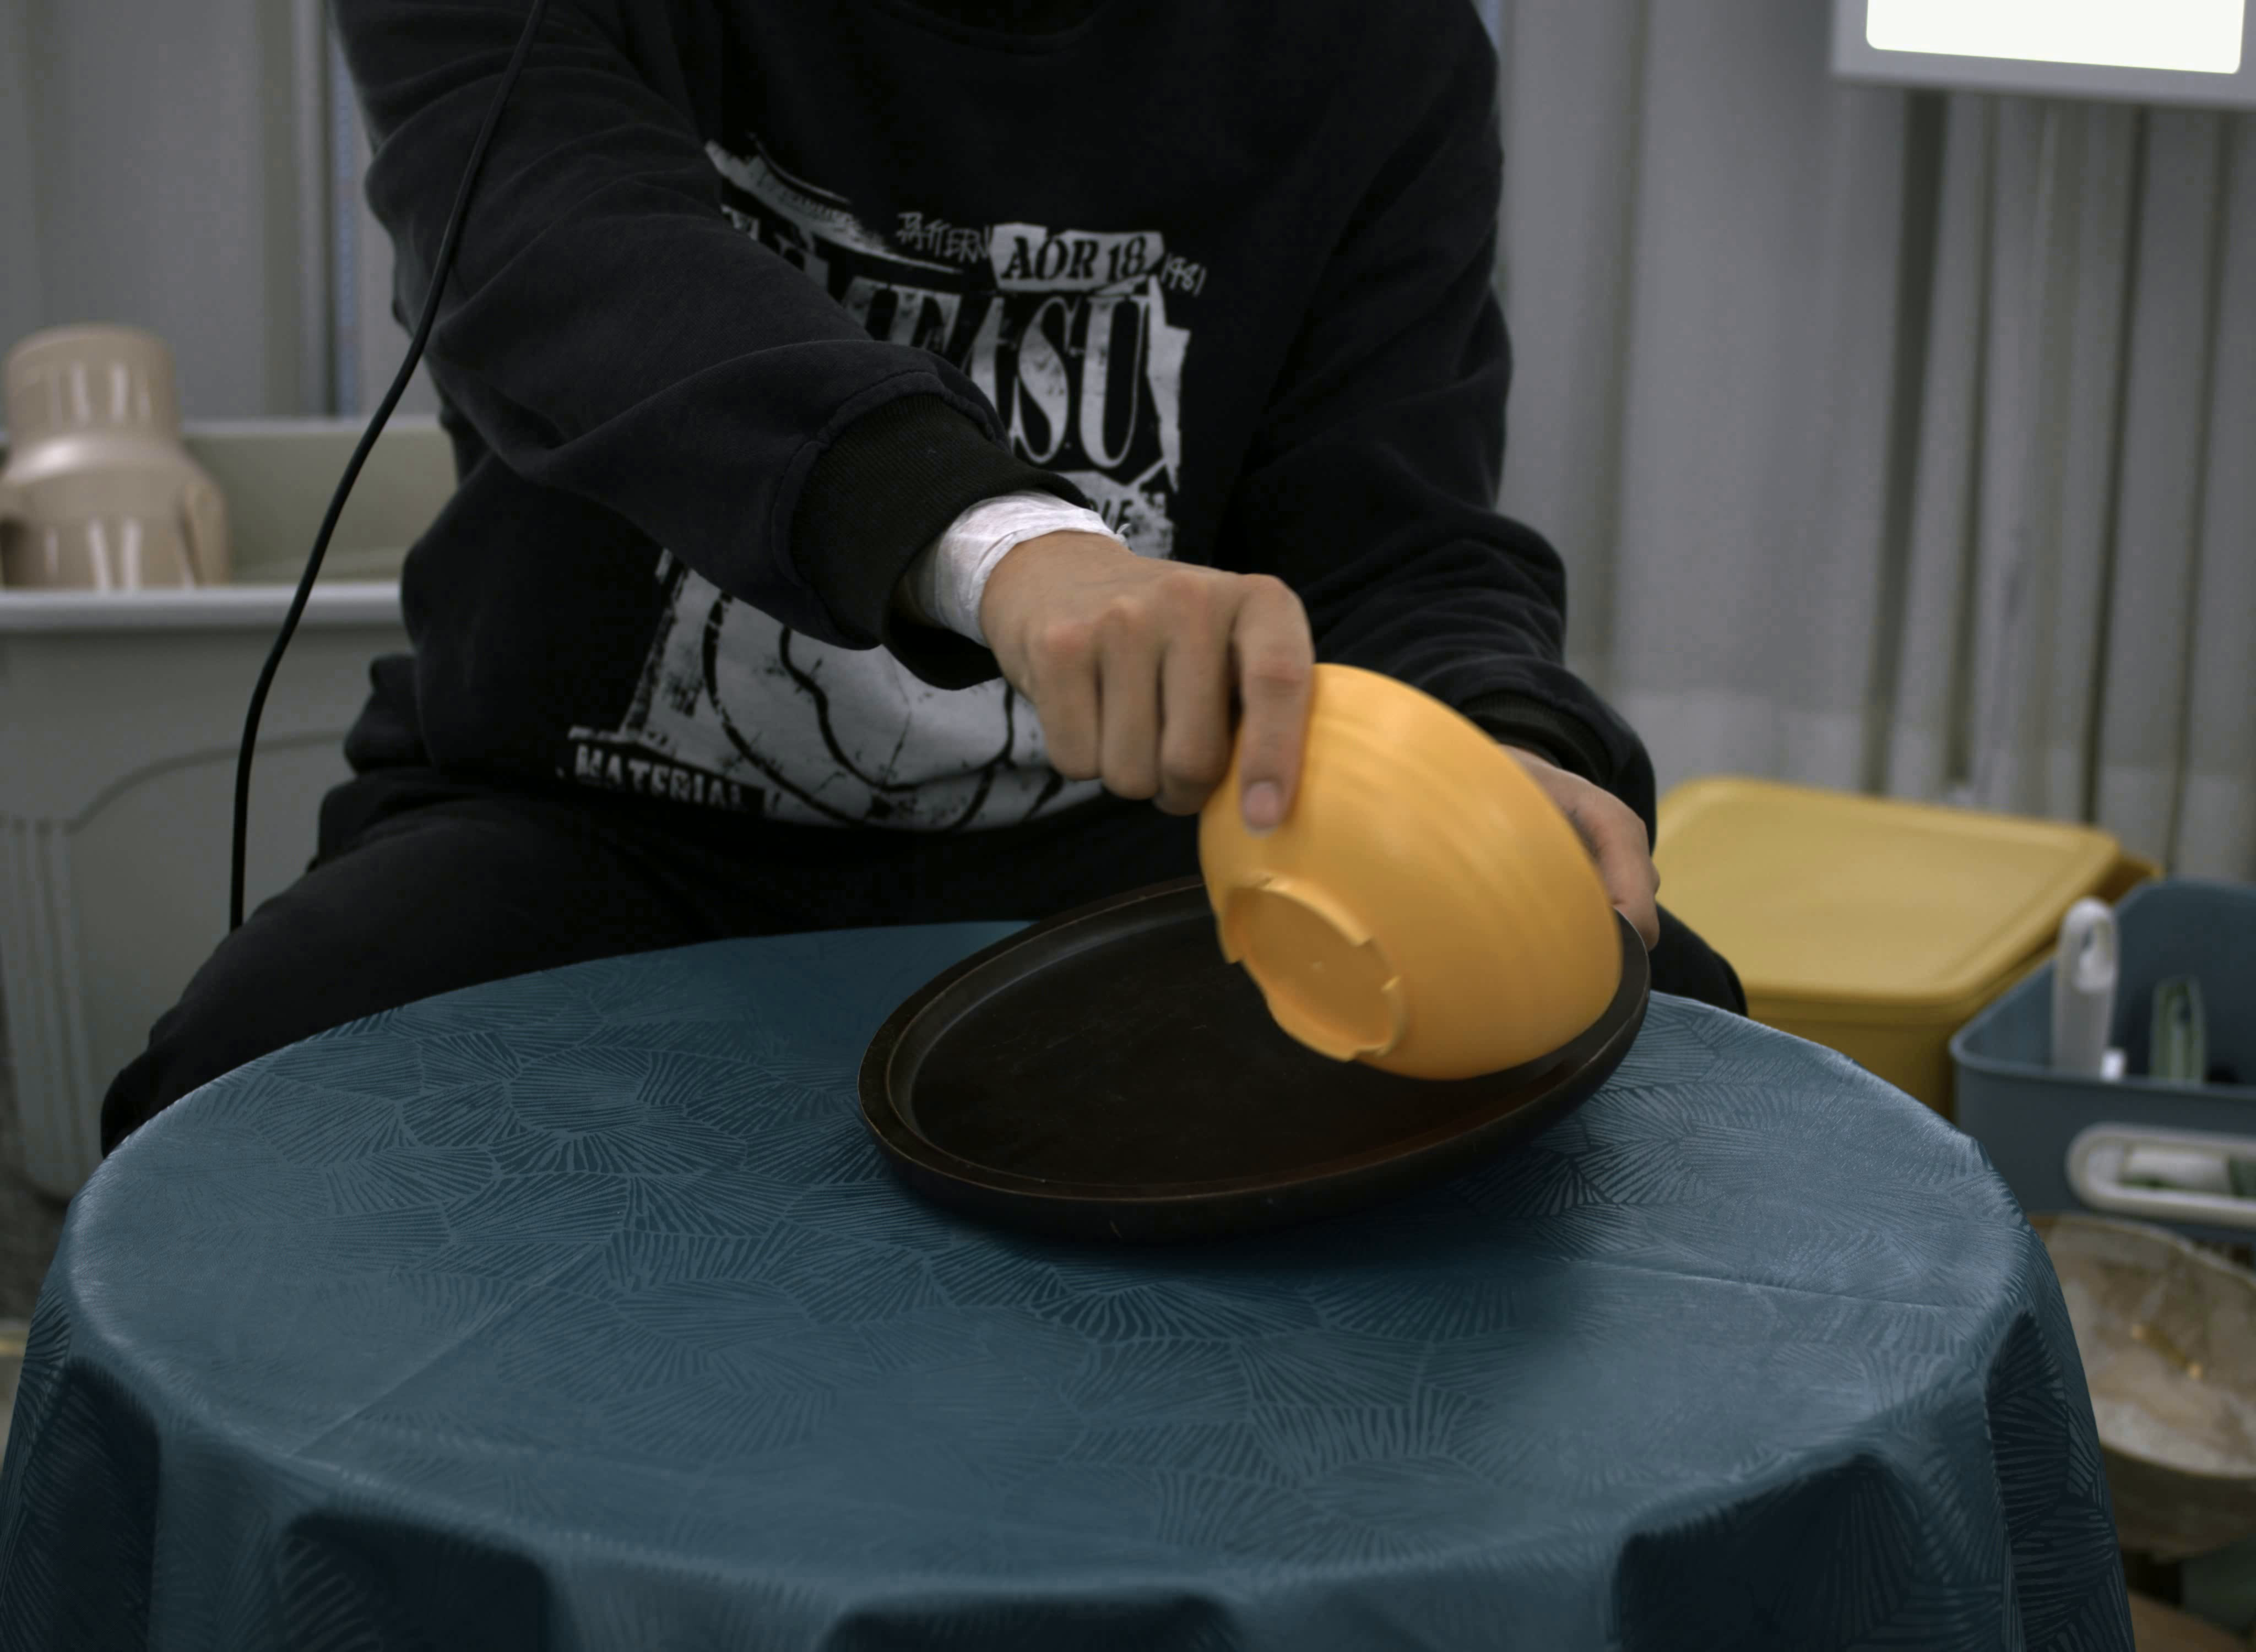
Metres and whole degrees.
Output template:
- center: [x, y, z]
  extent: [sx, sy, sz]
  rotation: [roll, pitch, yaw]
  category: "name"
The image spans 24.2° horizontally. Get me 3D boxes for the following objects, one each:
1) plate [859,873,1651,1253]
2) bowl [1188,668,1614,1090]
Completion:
- center: [0.041, 0.069, 1.660]
  extent: [0.254, 0.029, 0.253]
  rotation: [-10, 22, 5]
  category: "plate"
- center: [0.068, 0.029, 1.557]
  extent: [0.143, 0.147, 0.060]
  rotation: [14, 47, 38]
  category: "bowl"
